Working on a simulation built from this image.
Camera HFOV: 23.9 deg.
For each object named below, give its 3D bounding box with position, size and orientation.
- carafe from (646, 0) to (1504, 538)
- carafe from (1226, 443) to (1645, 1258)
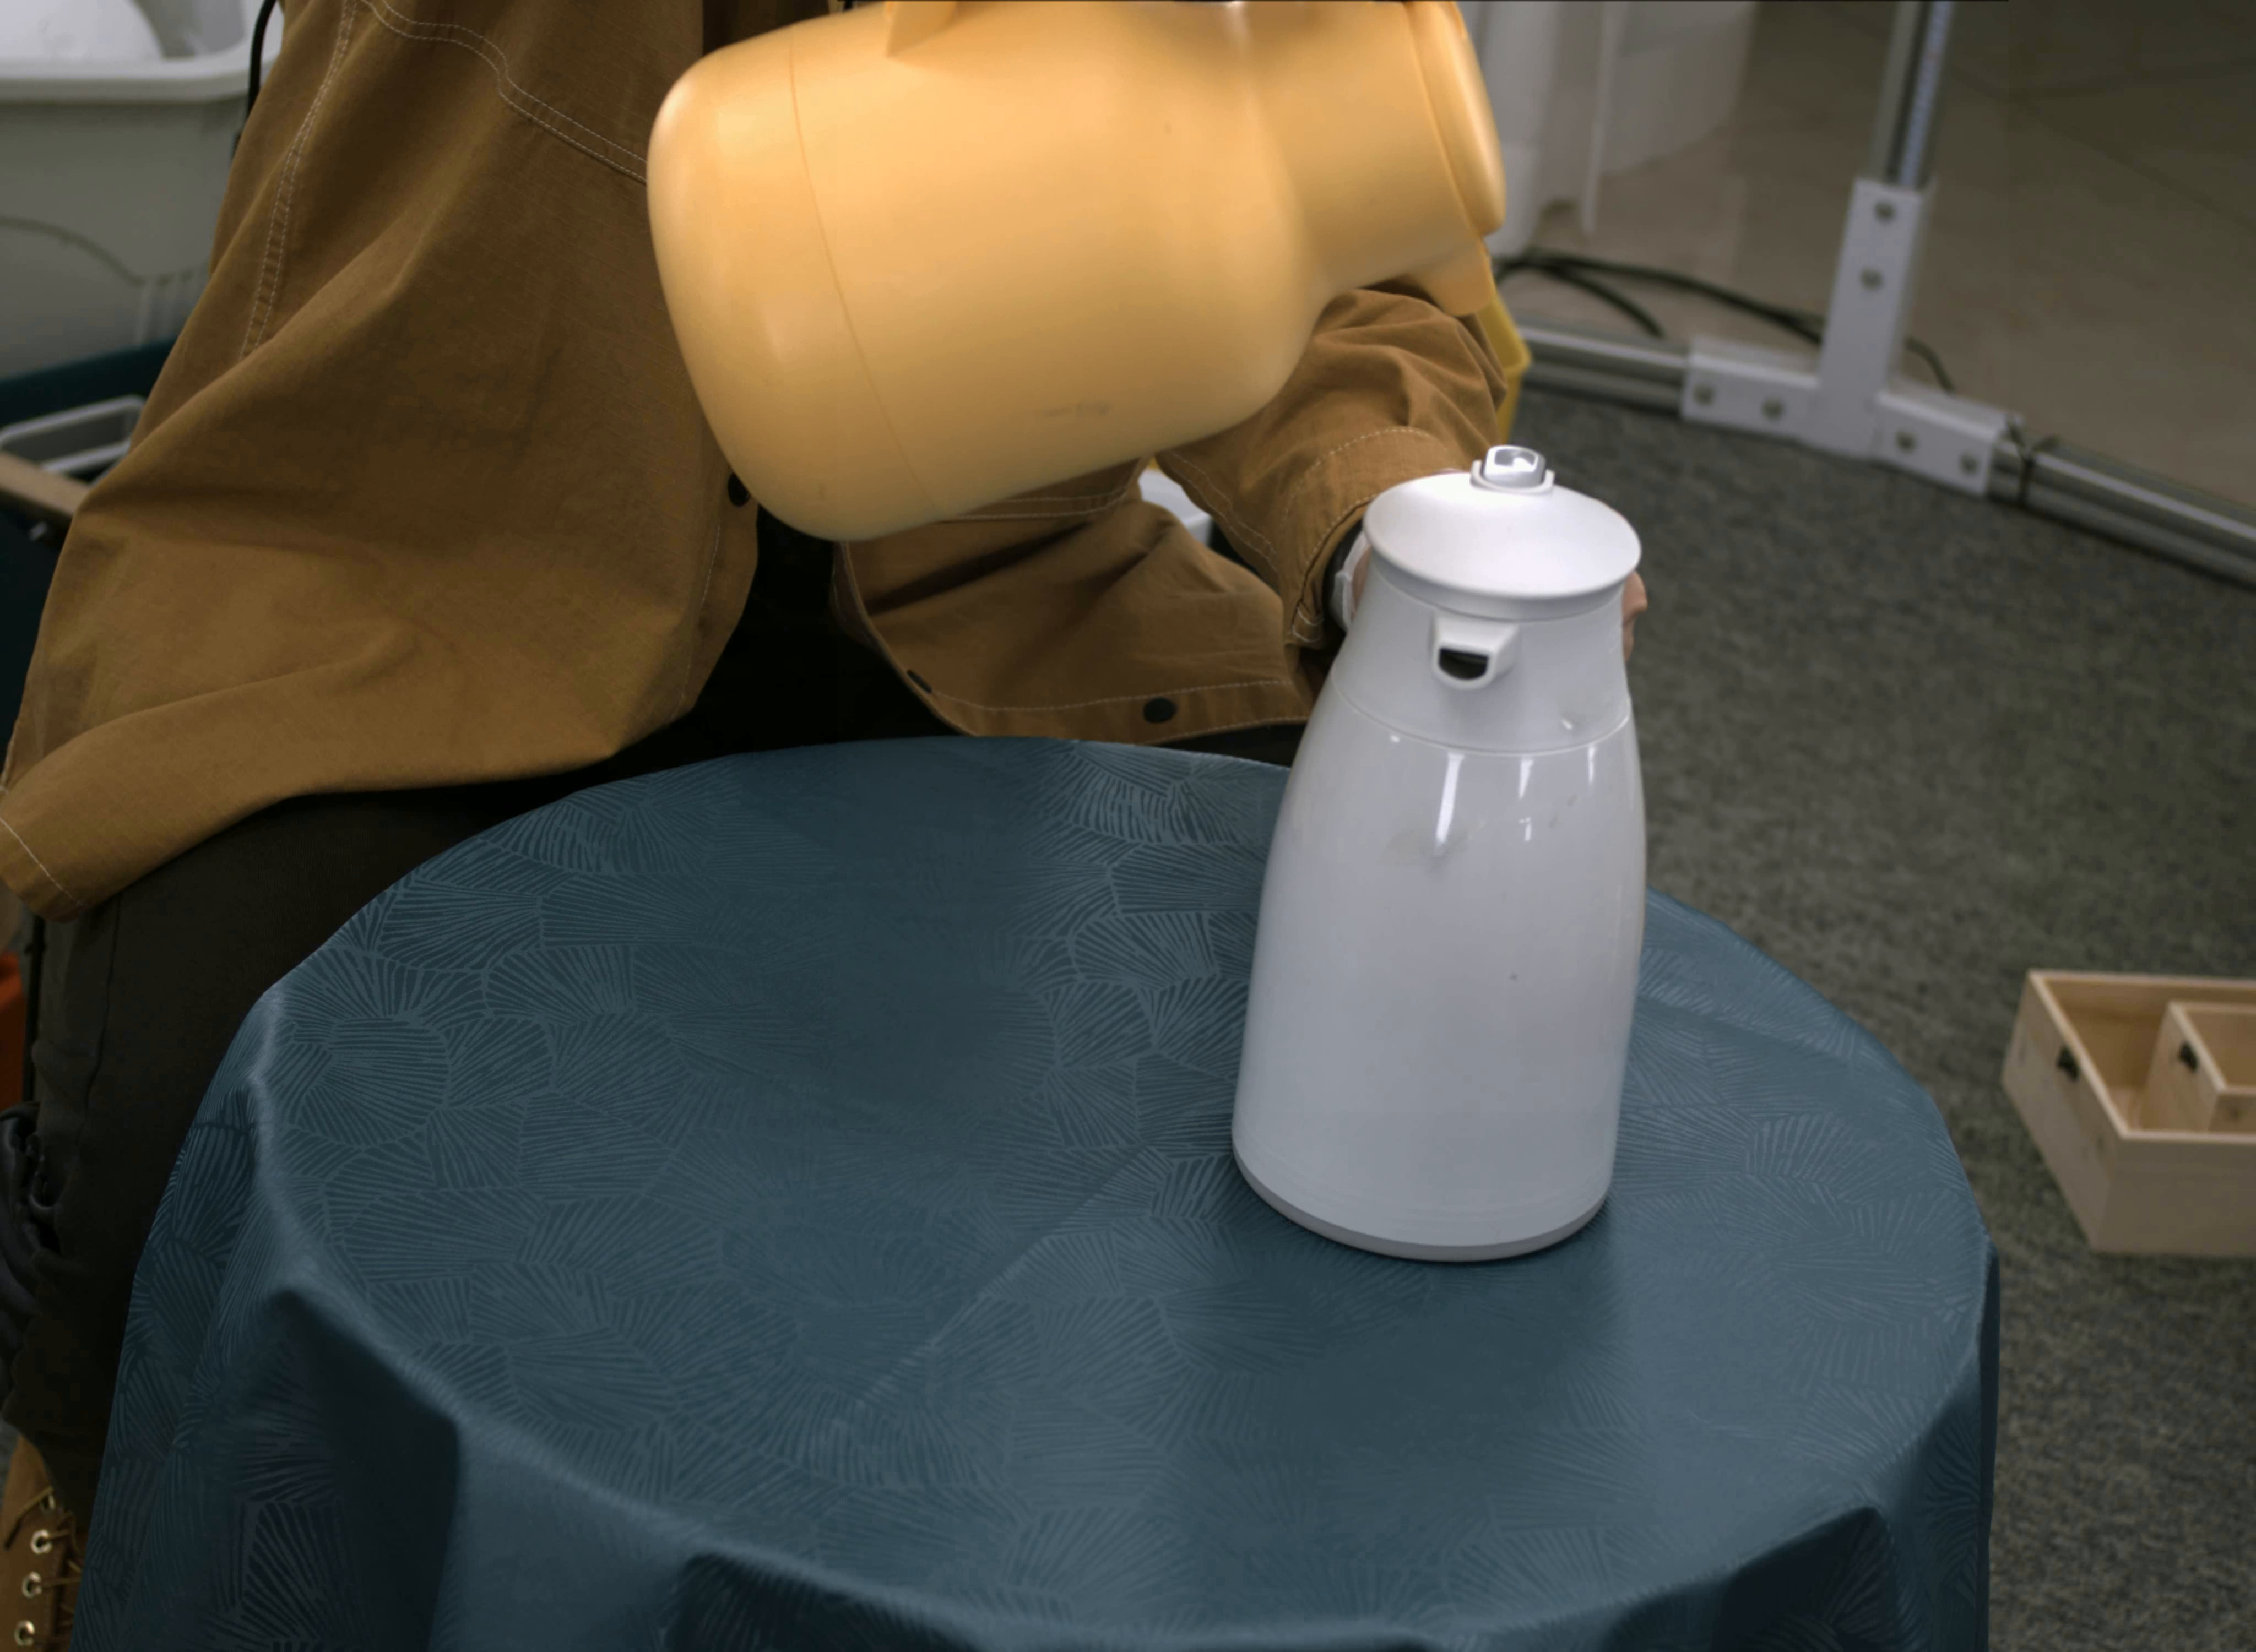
[{"bbox_3d":[-0.019,-0.213,1.669,0.260,0.201,0.165,-17,33,6],"label":"carafe"},{"bbox_3d":[0.113,-0.003,1.800,0.132,0.248,0.168,10,27,8],"label":"carafe"}]
